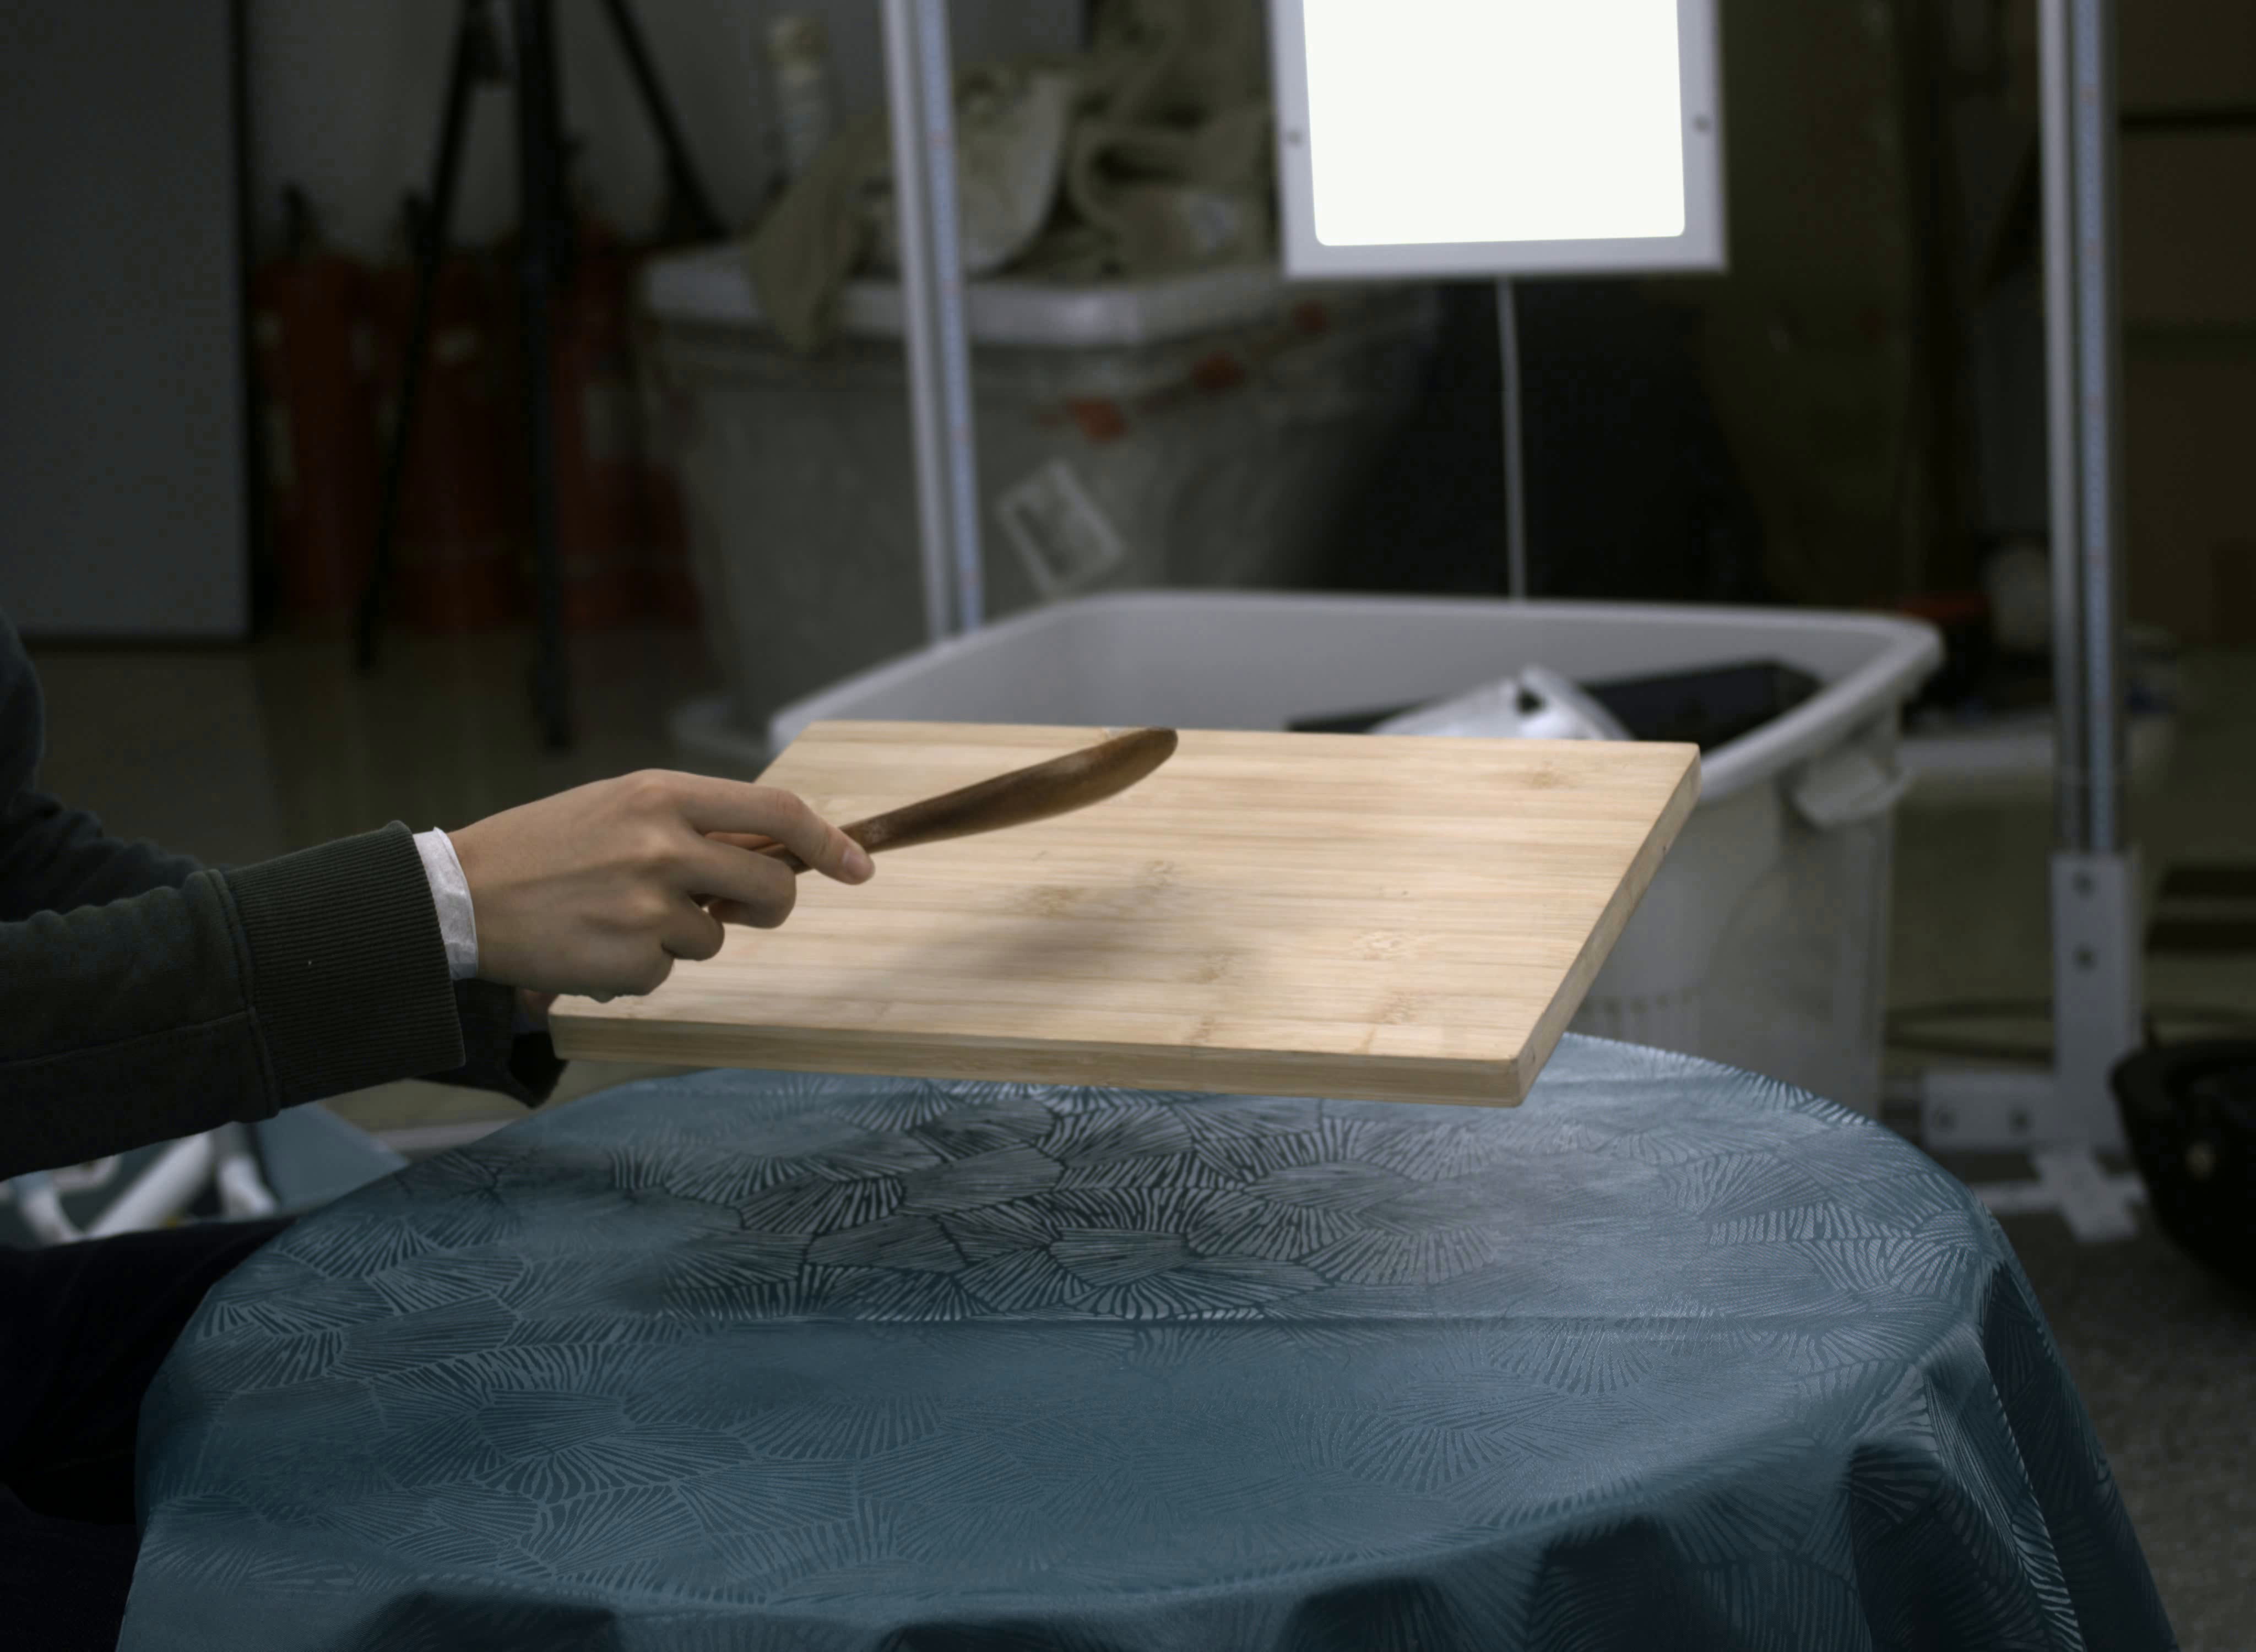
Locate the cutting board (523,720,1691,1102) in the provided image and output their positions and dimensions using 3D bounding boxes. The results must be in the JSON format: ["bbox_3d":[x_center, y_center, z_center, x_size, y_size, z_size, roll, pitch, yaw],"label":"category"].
[{"bbox_3d":[-0.003,0.024,1.881,0.353,0.023,0.246,1,25,22],"label":"cutting board"}]

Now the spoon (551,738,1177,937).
[{"bbox_3d":[-0.085,0.004,1.808,0.213,0.017,0.076,-14,-2,-10],"label":"spoon"}]
